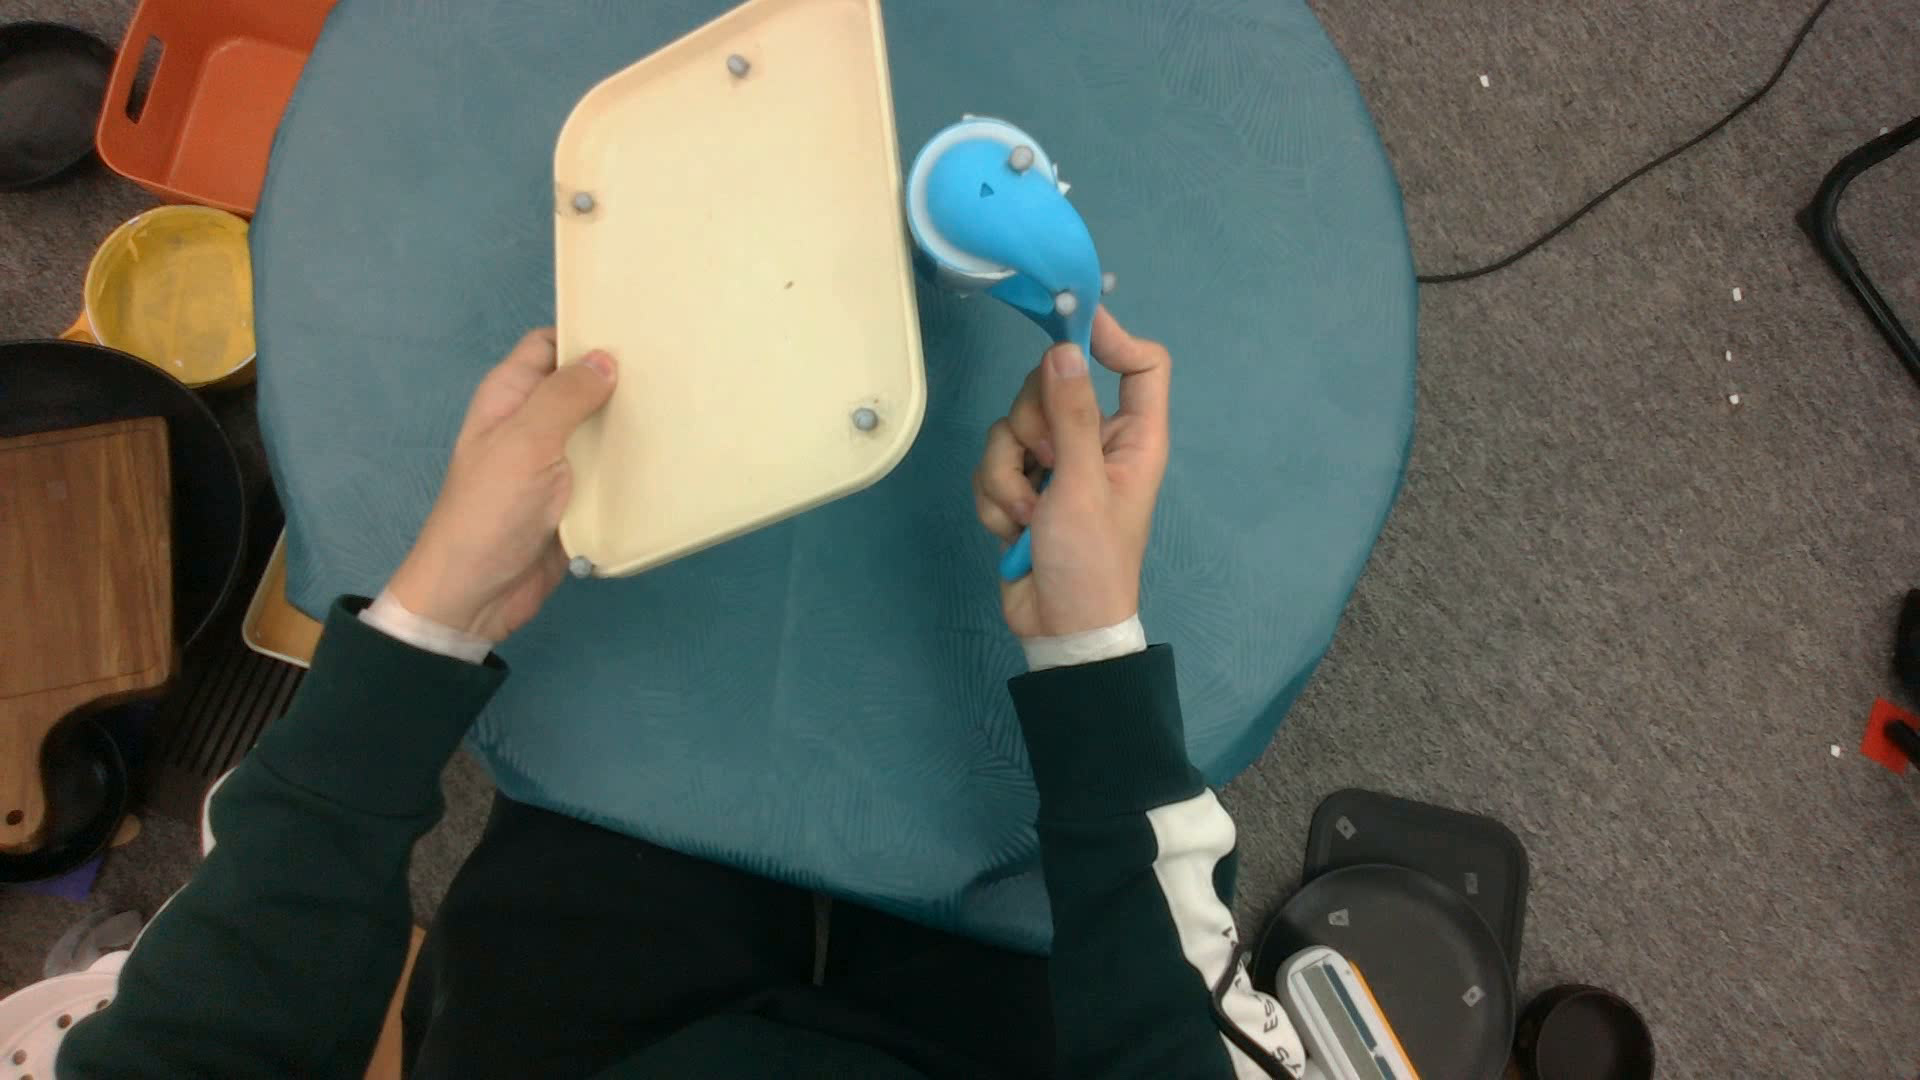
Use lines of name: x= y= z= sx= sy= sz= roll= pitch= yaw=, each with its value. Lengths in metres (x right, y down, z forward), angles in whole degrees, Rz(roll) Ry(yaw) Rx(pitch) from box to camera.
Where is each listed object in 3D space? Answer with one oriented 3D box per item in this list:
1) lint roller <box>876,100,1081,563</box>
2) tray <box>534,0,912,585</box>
lint roller: x=0.013 y=-0.084 z=0.581 sx=0.068 sy=0.229 sz=0.180 roll=-18 pitch=102 yaw=-3
tray: x=-0.102 y=-0.108 z=0.553 sx=0.171 sy=0.017 sz=0.240 roll=-21 pitch=63 yaw=24
